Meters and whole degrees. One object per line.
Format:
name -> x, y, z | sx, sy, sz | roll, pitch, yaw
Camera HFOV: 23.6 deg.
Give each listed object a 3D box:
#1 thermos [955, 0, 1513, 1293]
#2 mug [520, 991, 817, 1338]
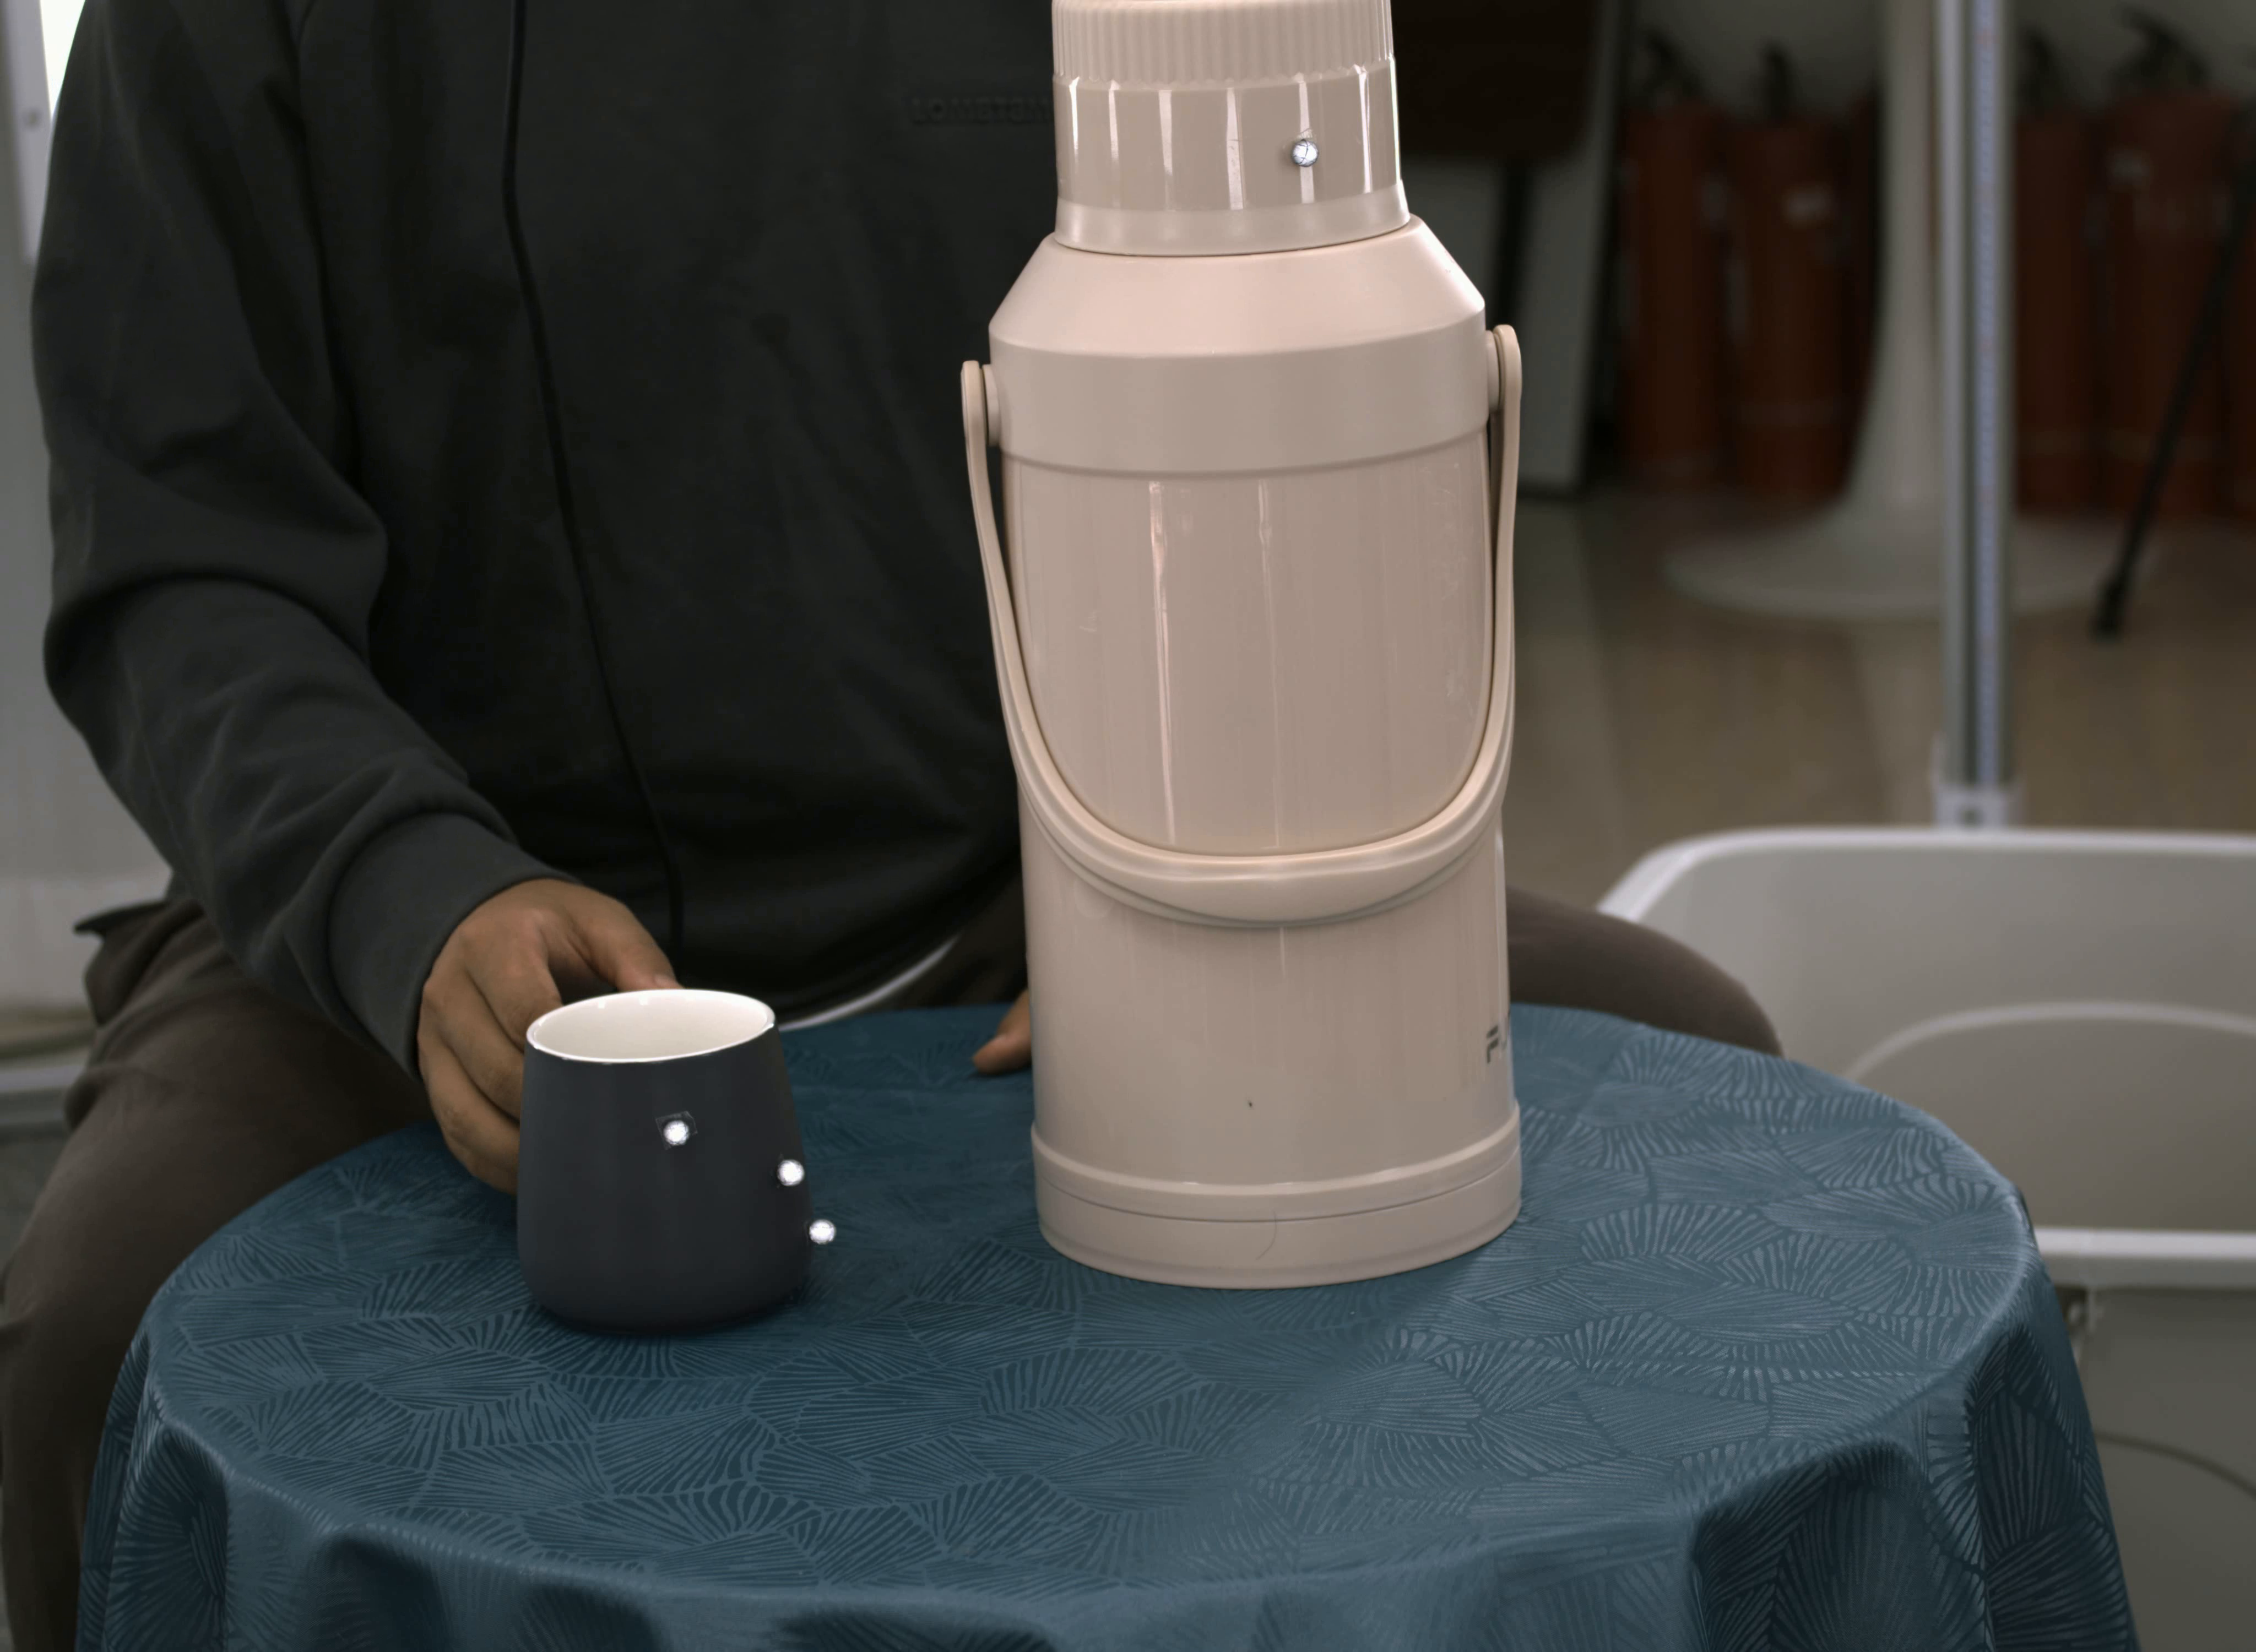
thermos -> 0.036, -0.072, 1.713 | 0.173, 0.411, 0.208 | -5, 14, -4
mug -> -0.148, 0.102, 1.702 | 0.092, 0.091, 0.124 | -6, 14, -11
